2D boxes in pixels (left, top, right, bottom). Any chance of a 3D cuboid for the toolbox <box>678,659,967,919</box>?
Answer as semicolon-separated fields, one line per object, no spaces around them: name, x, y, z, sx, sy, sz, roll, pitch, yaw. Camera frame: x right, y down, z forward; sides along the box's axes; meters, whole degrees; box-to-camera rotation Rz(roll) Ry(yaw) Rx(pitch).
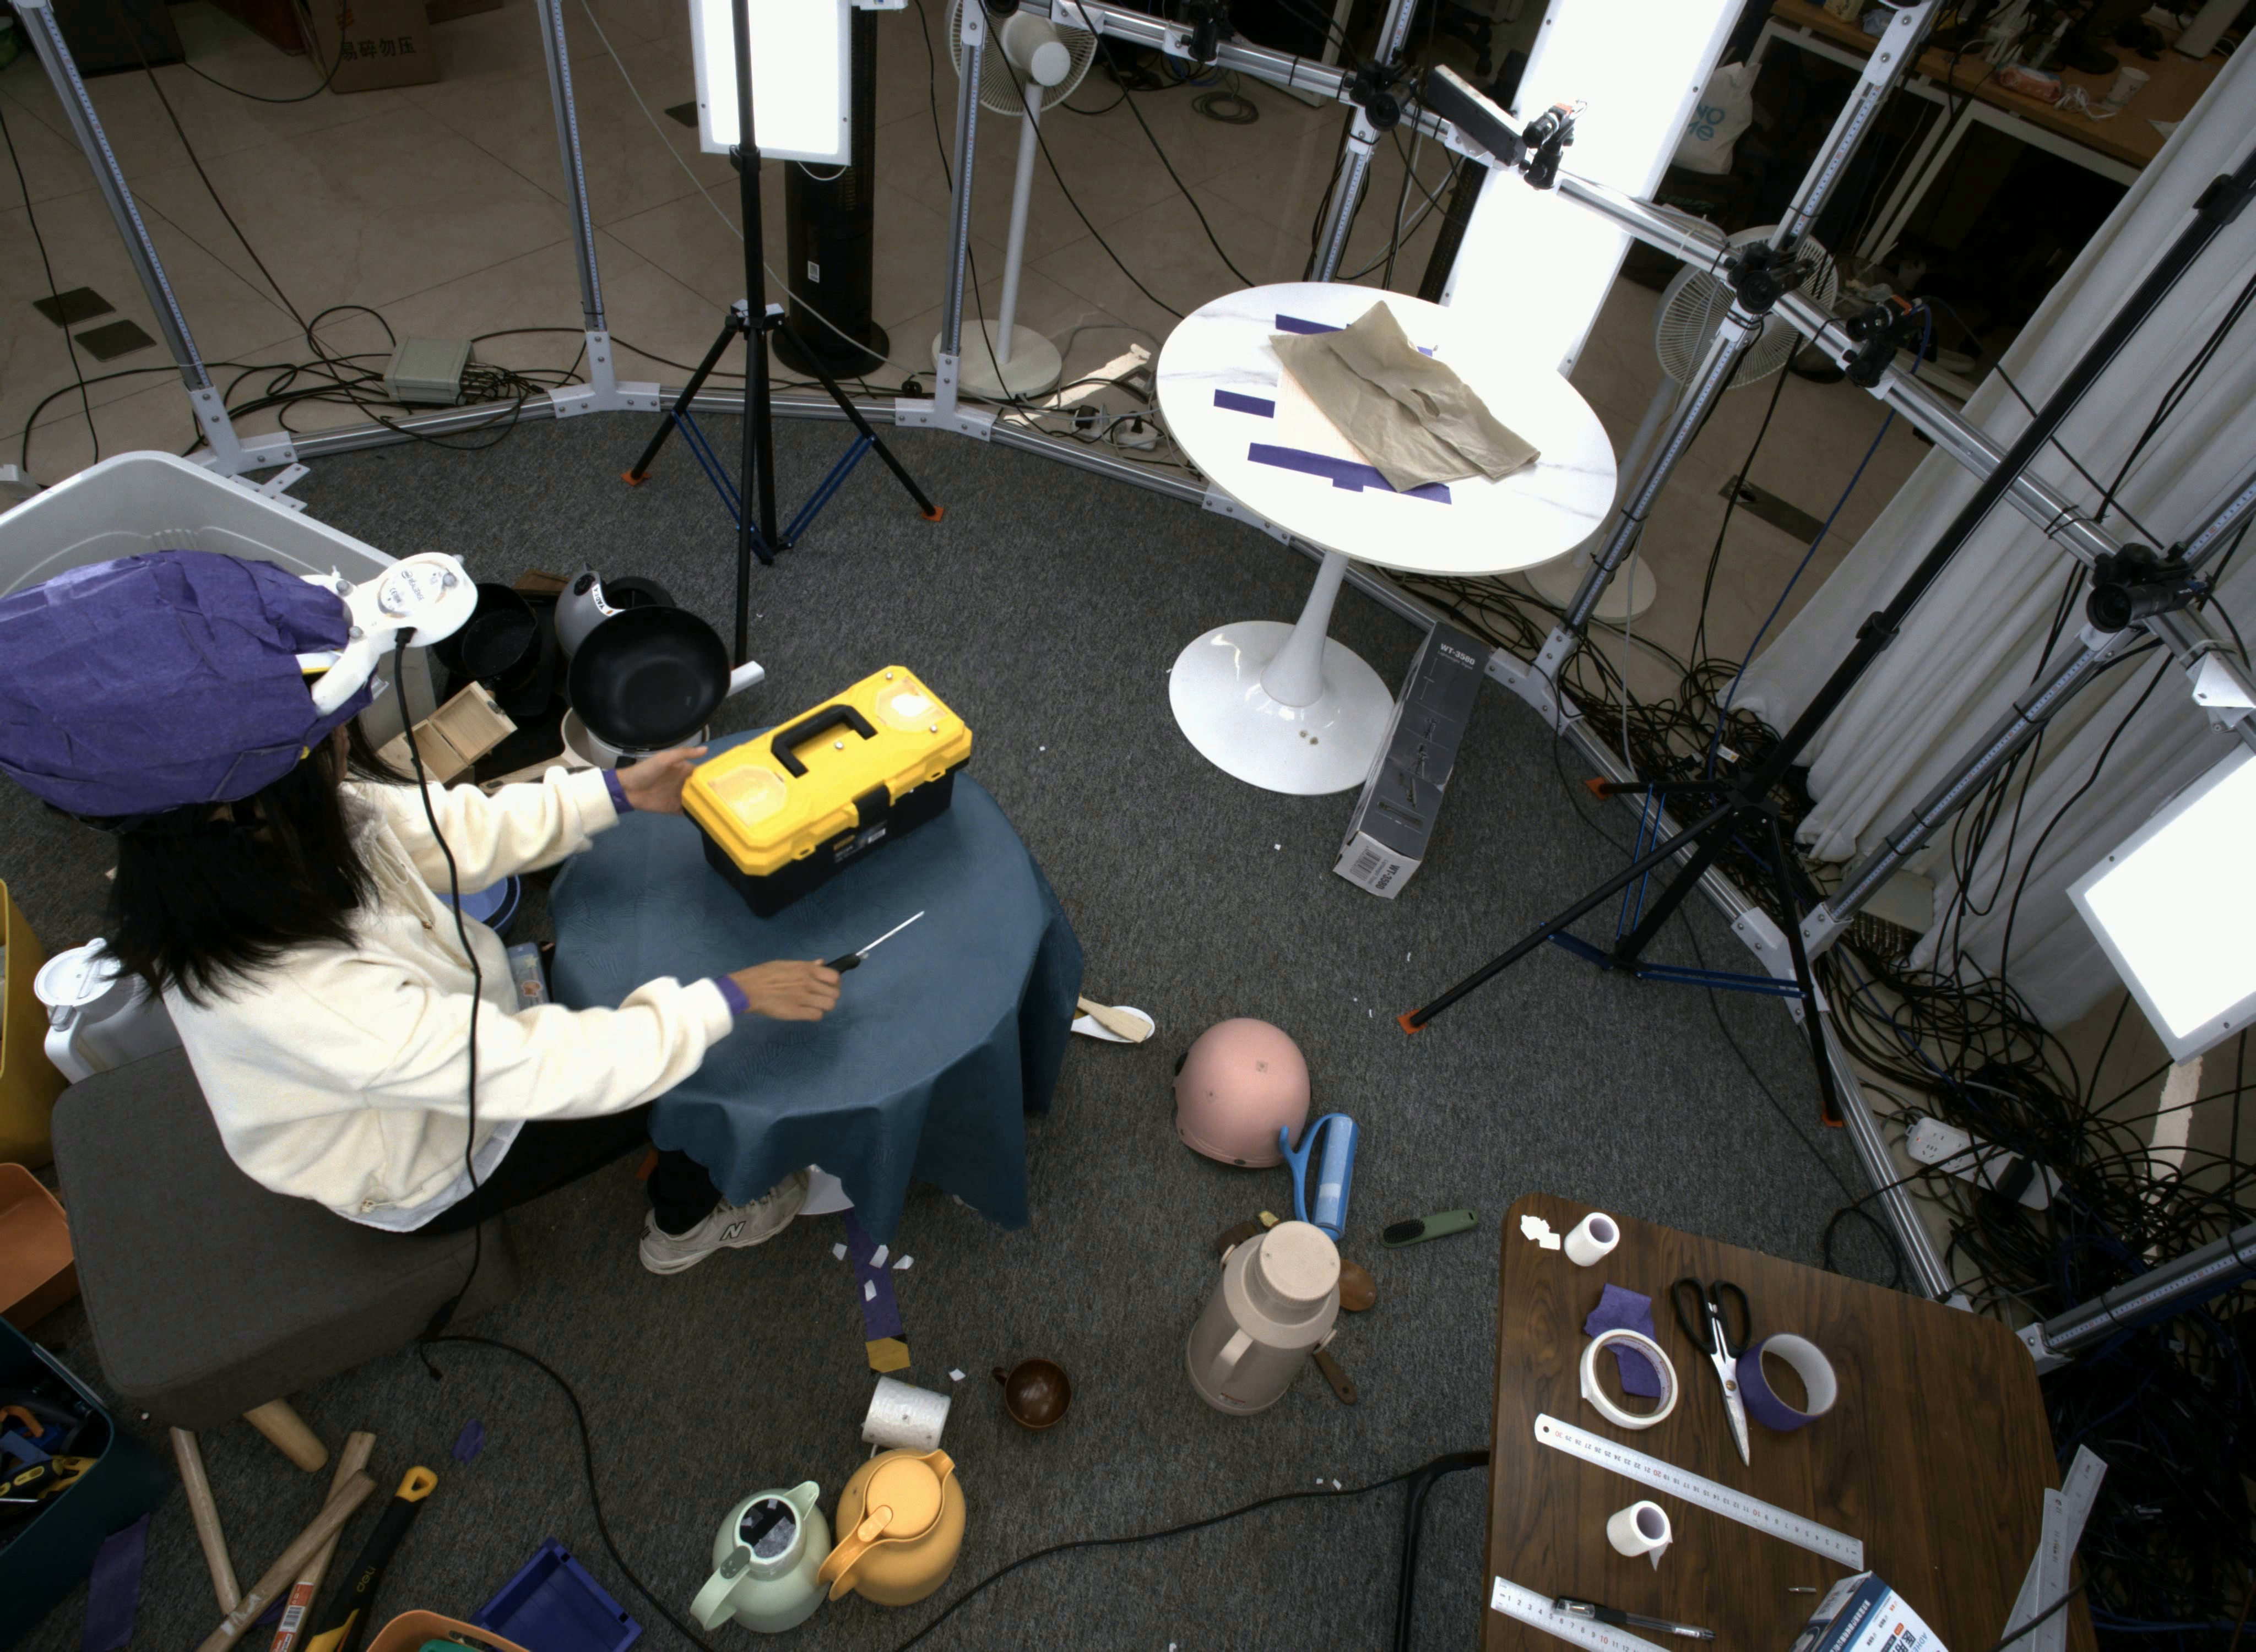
toolbox;-0.380;-0.047;1.653;0.177;0.176;0.352;42;55;19

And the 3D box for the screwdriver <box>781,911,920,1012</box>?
screwdriver;-0.323;0.154;1.531;0.196;0.032;0.030;-34;66;-21
